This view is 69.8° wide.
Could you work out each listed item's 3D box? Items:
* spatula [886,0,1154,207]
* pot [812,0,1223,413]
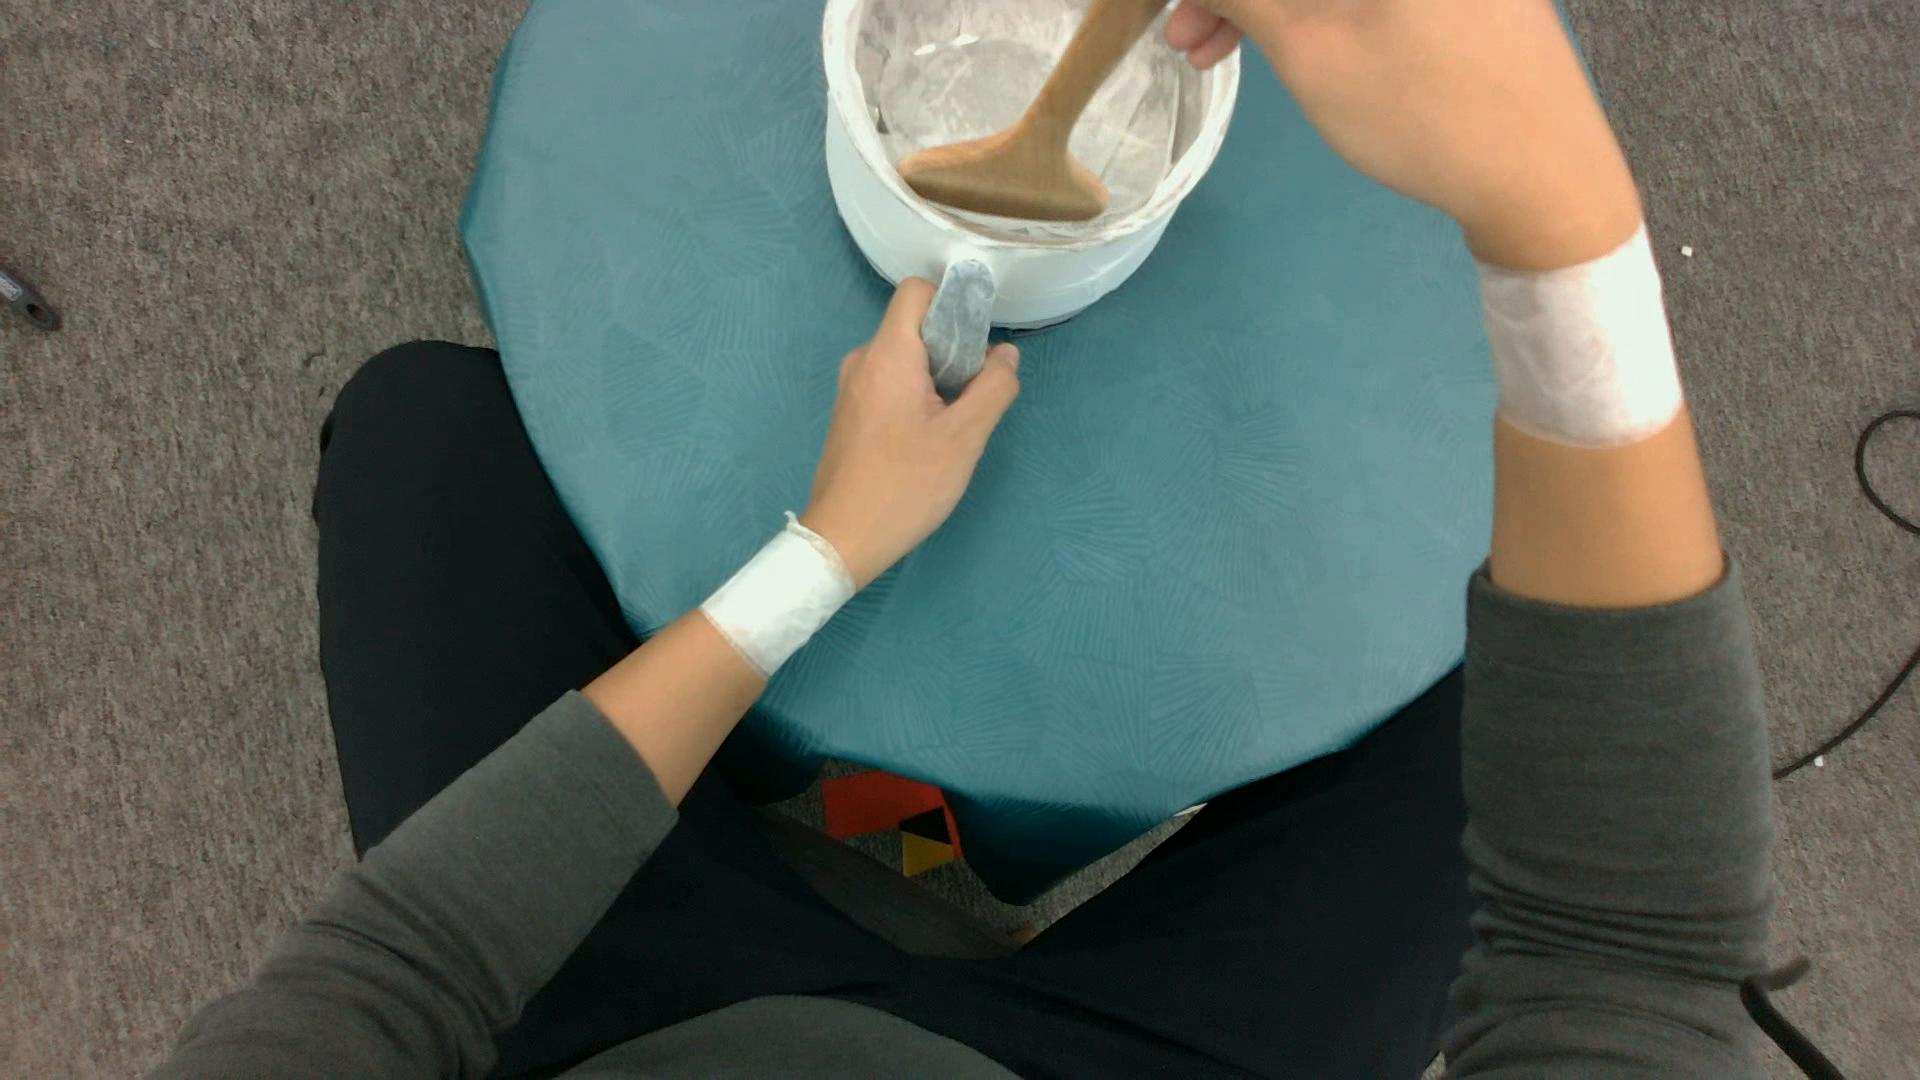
[{"bbox_3d":[0.046,-0.162,0.447,0.096,0.390,0.018,6,86,-11],"label":"spatula"},{"bbox_3d":[0.012,-0.178,0.643,0.179,0.136,0.234,15,82,-4],"label":"pot"}]
